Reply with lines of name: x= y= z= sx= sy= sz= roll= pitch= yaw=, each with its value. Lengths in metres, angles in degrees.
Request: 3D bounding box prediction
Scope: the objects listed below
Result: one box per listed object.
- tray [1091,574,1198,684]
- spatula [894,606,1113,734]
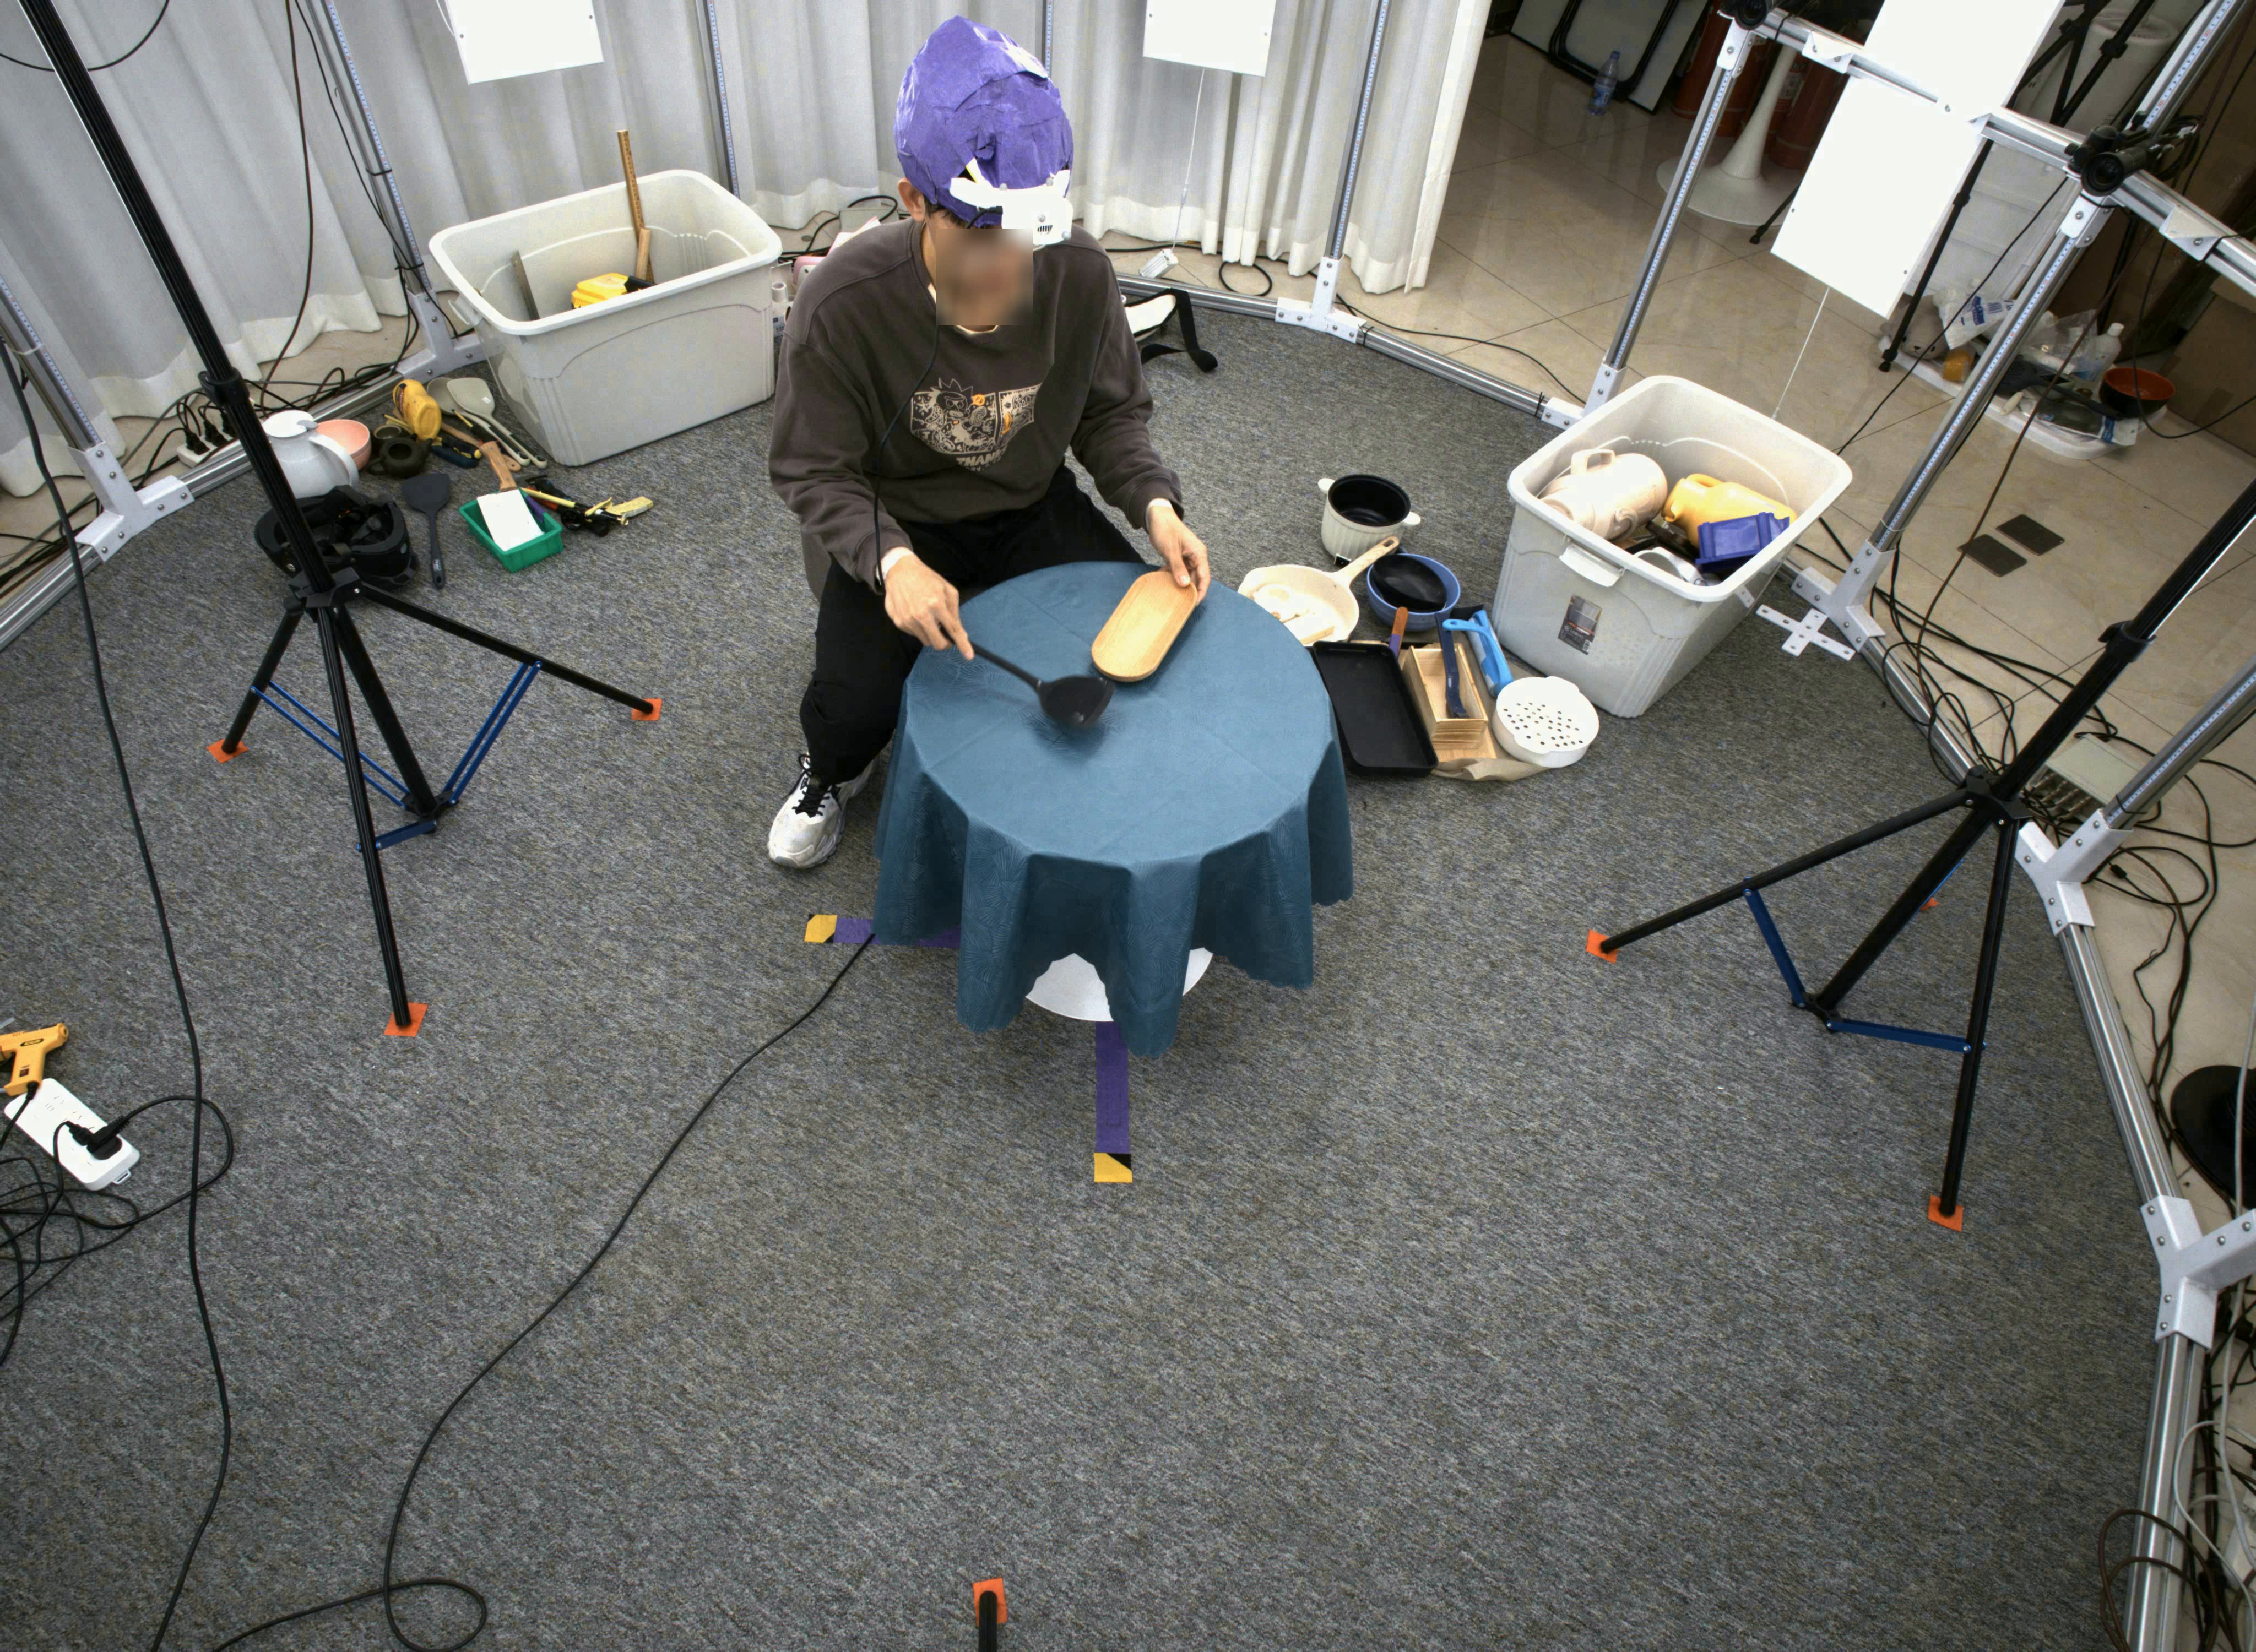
tray: x=0.026 y=-0.292 z=1.889 sx=0.102 sy=0.020 sz=0.235 roll=20 pitch=55 yaw=15
spatula: x=-0.179 y=-0.228 z=1.772 sx=0.326 sy=0.039 sz=0.101 roll=31 pitch=53 yaw=3
